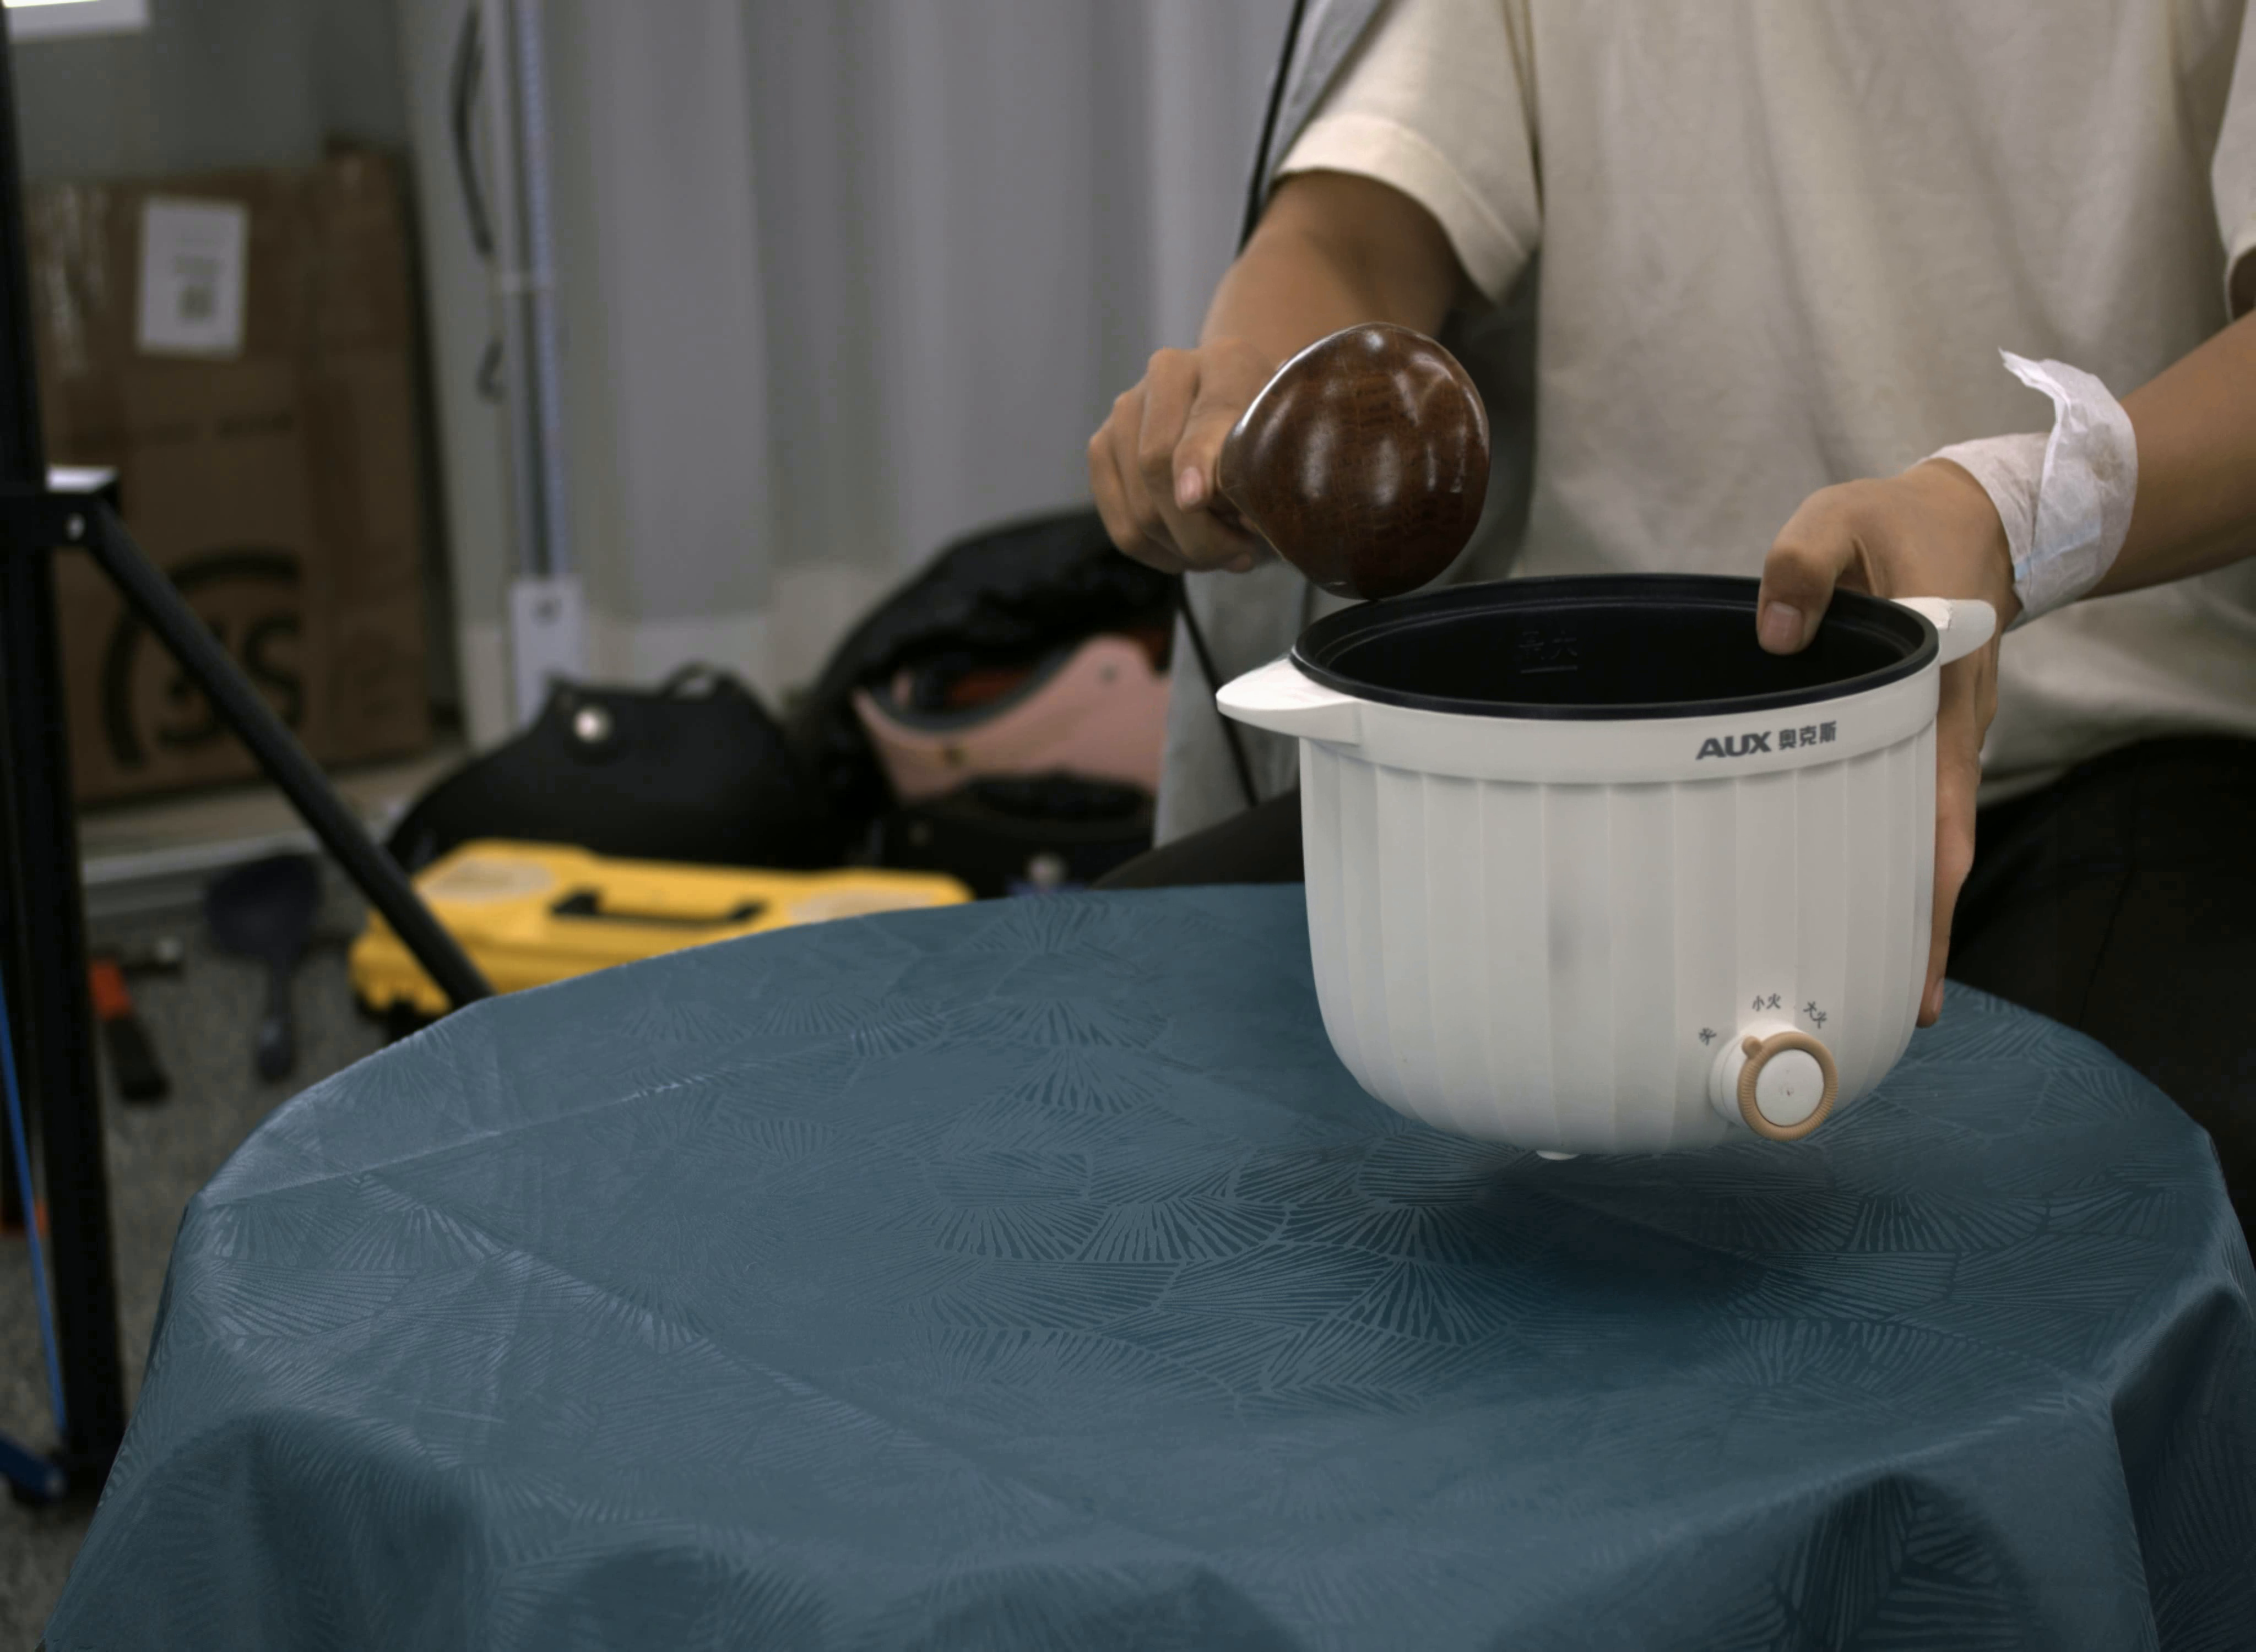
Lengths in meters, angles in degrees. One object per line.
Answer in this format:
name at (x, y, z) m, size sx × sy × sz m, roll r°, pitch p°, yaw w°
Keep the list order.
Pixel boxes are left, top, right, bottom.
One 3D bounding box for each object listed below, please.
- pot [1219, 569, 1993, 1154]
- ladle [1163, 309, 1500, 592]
pot at (0.142, 0.011, 1.491) m, size 0.236 × 0.143 × 0.194 m, roll -9°, pitch 11°, yaw -20°
ladle at (0.060, -0.107, 1.648) m, size 0.076 × 0.082 × 0.274 m, roll 10°, pitch -2°, yaw -4°
